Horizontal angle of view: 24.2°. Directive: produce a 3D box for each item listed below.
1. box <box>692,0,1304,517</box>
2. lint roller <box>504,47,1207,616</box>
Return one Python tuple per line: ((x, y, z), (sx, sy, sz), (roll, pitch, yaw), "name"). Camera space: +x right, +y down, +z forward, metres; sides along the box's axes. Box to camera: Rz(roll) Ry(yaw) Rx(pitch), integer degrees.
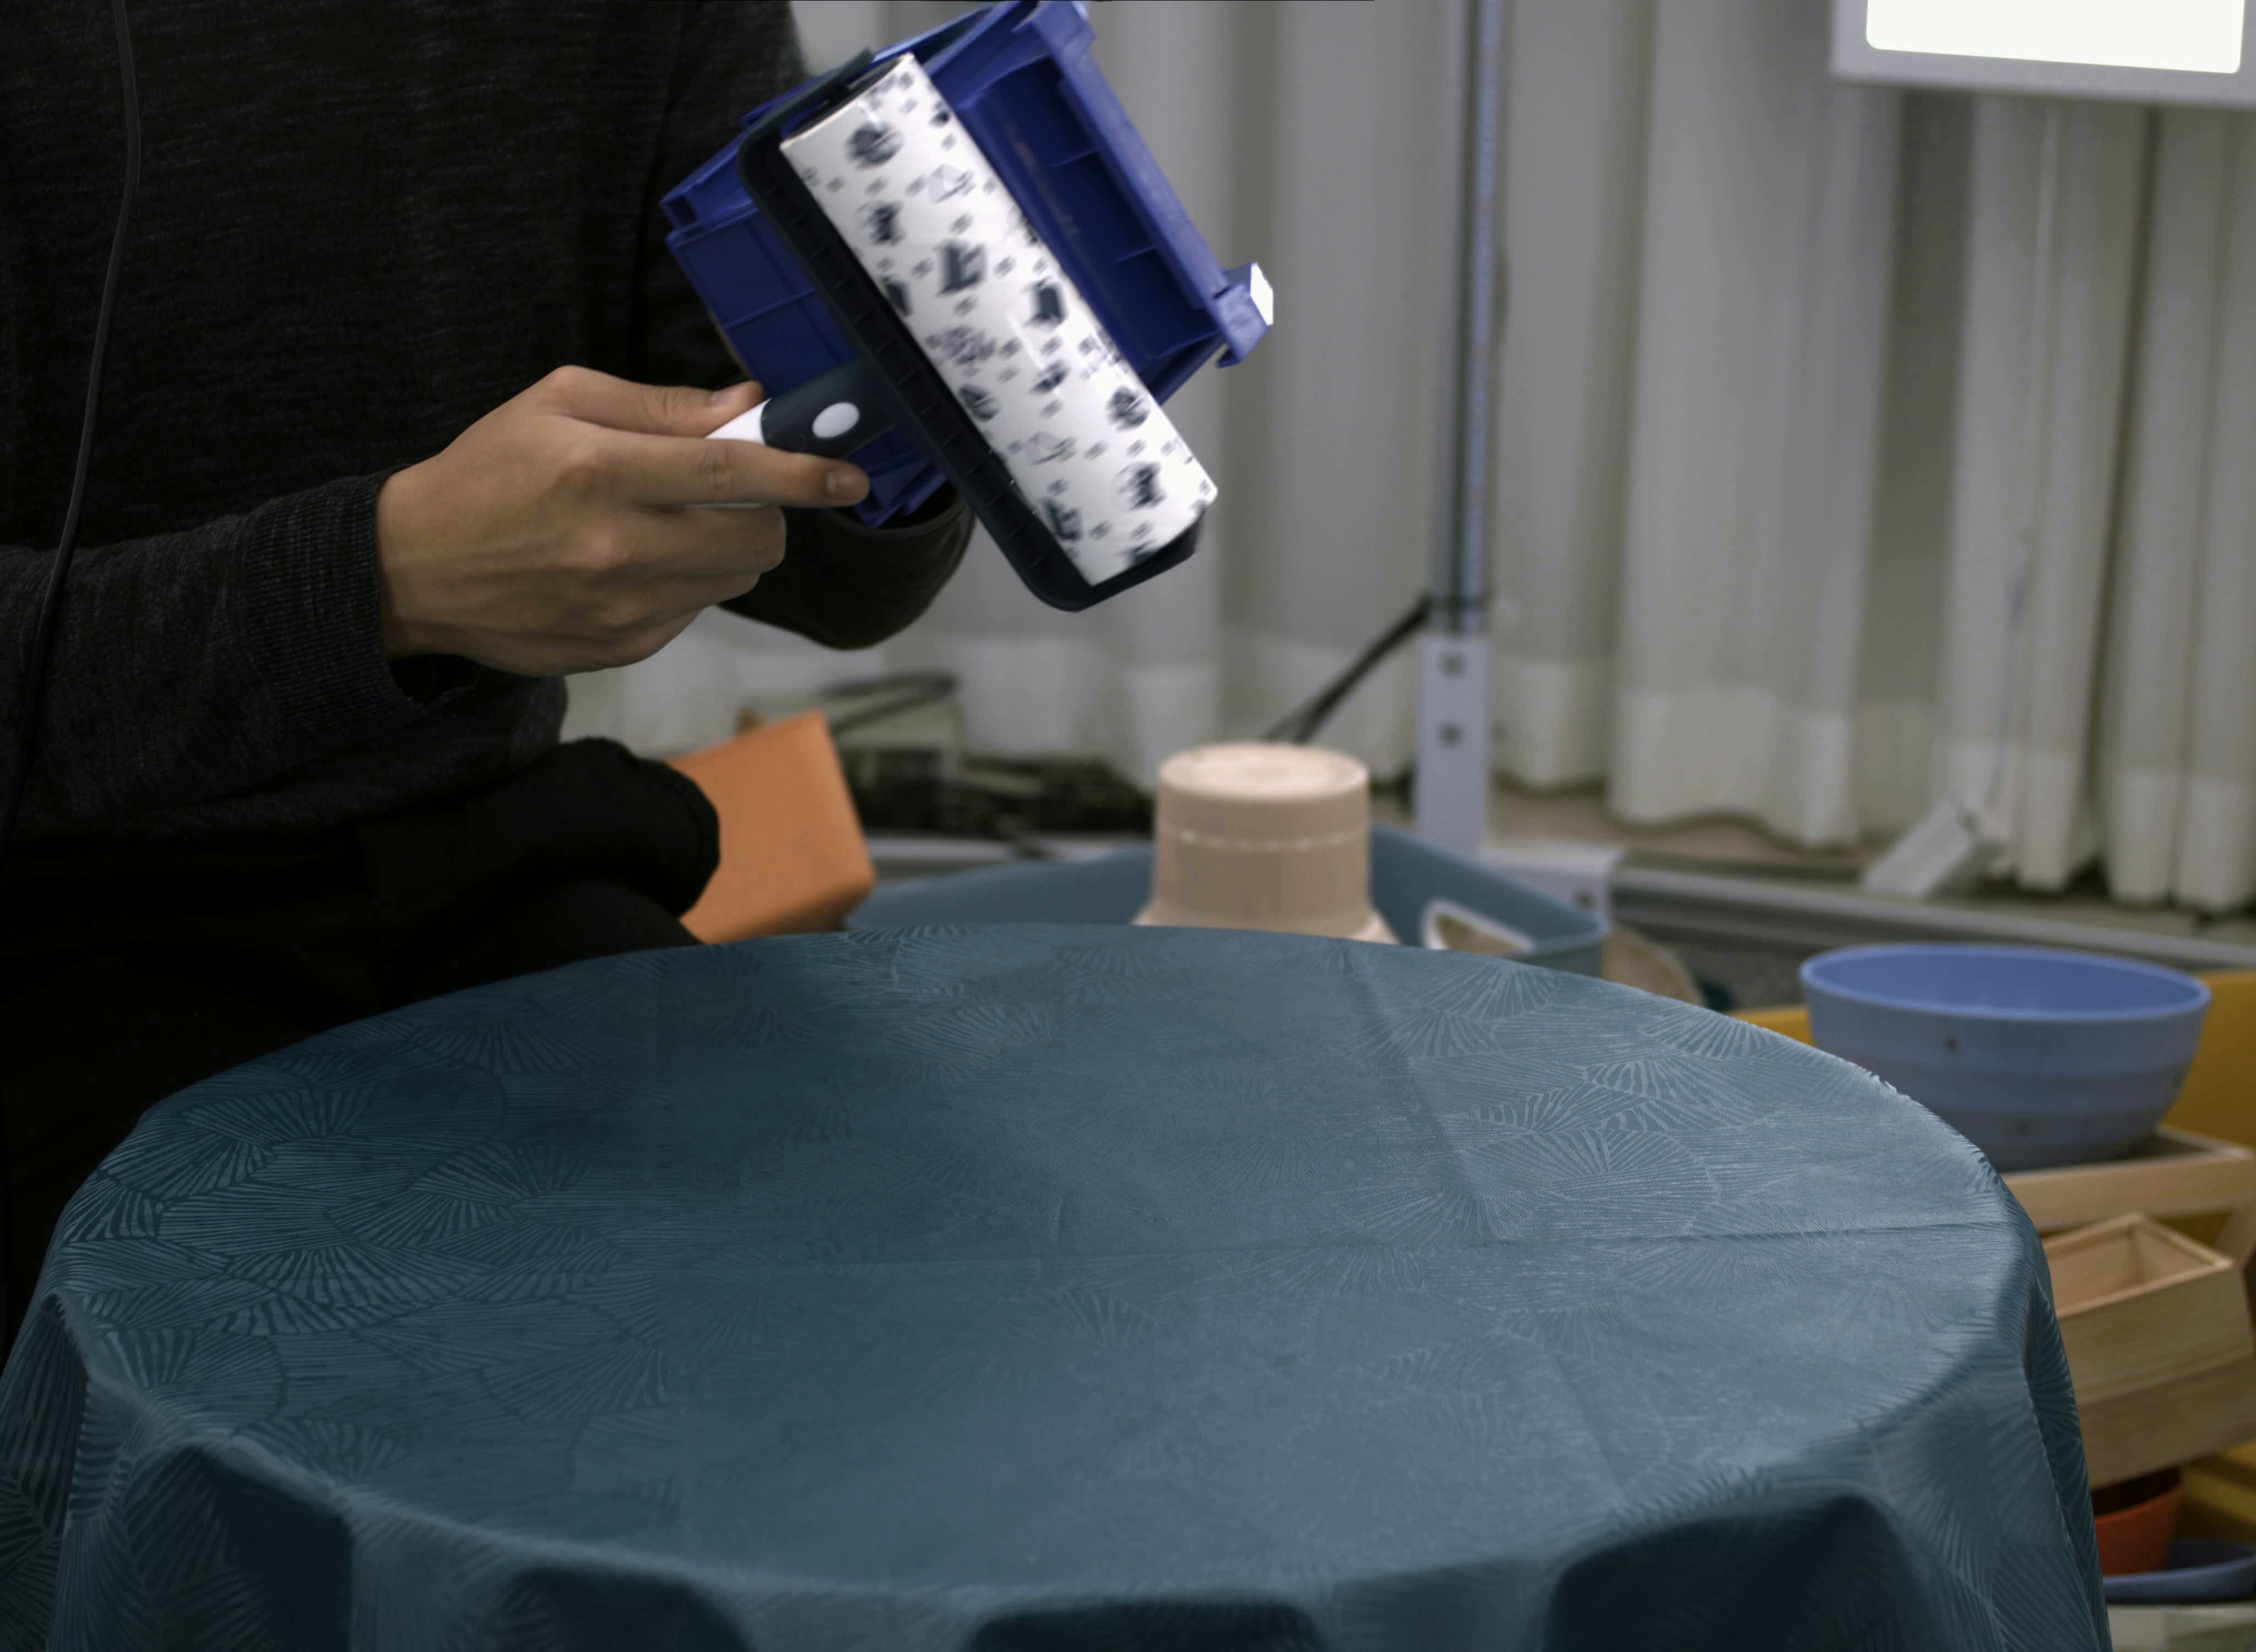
((-0.036, -0.183, 1.611), (0.178, 0.125, 0.082), (-19, 20, 42), "box")
((-0.110, -0.112, 1.605), (0.246, 0.177, 0.050), (-27, 16, 37), "lint roller")
